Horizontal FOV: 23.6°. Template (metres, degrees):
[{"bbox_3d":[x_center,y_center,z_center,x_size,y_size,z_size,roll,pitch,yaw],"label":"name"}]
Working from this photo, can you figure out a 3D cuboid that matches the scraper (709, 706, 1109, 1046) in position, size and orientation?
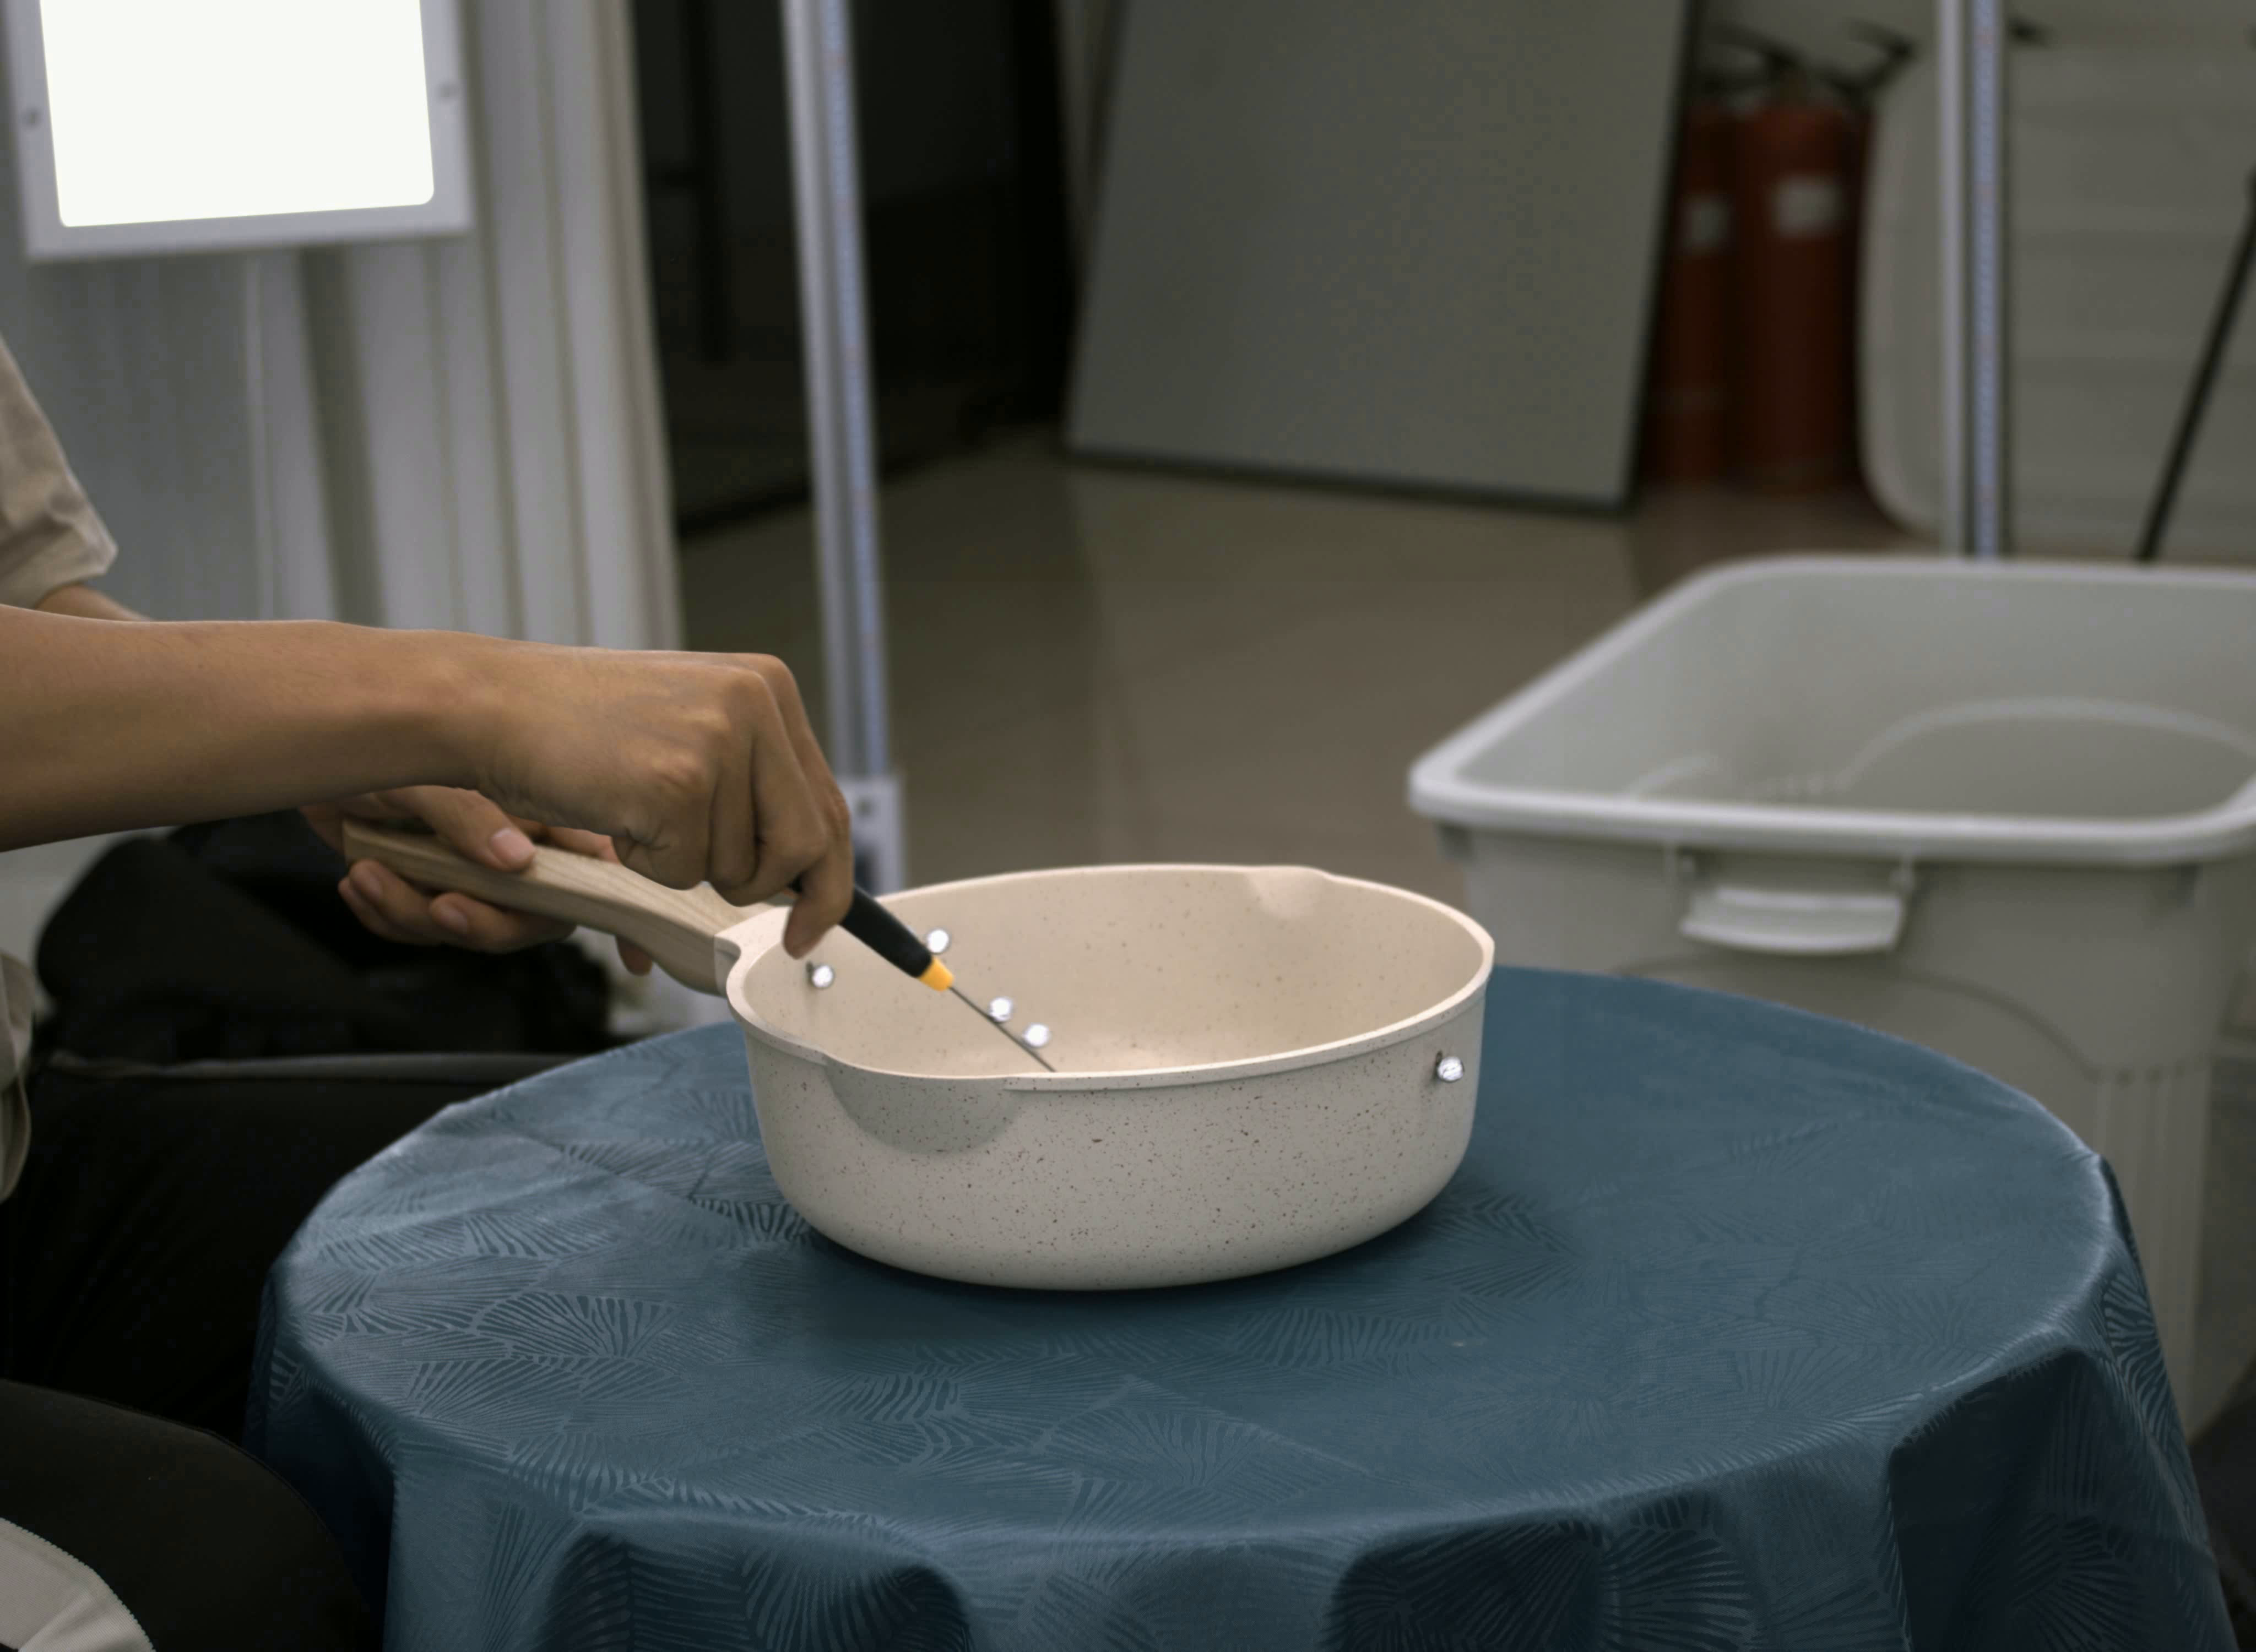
[{"bbox_3d":[-0.068,0.016,1.694,0.015,0.169,0.039,-47,26,7],"label":"scraper"}]

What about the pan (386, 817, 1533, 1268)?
[{"bbox_3d":[-0.067,0.061,1.818,0.437,0.103,0.259,4,18,31],"label":"pan"}]
